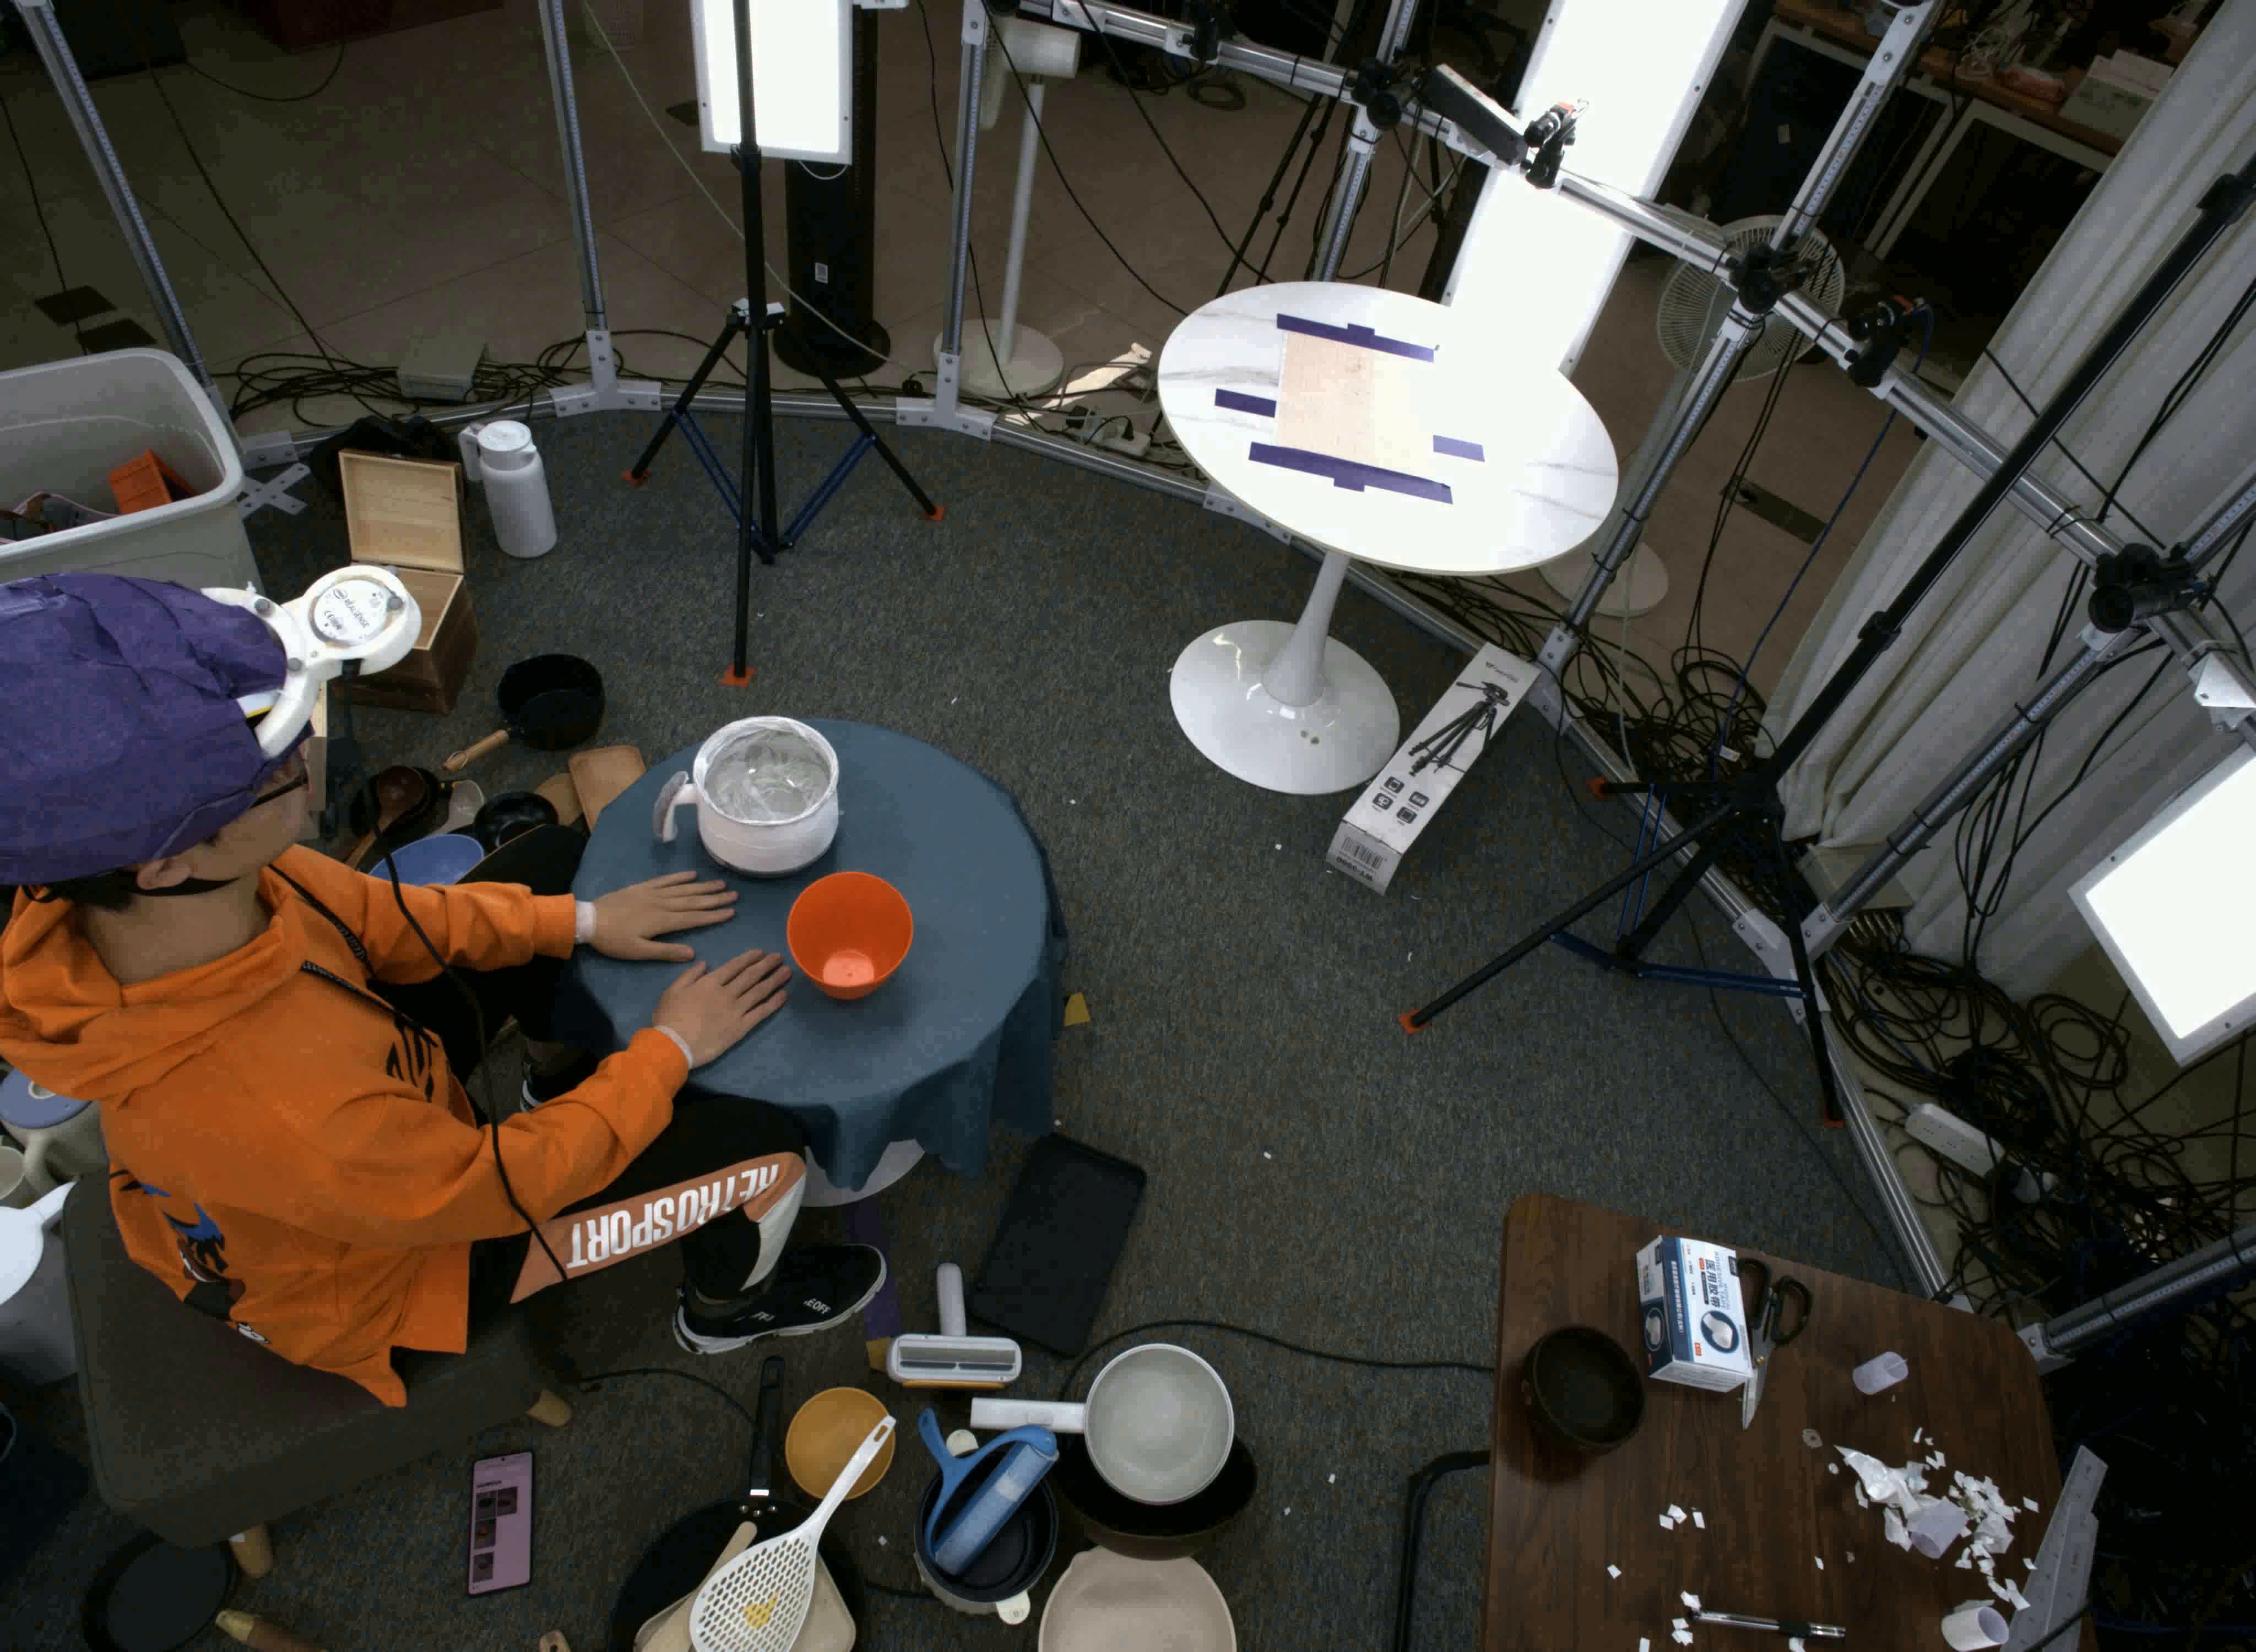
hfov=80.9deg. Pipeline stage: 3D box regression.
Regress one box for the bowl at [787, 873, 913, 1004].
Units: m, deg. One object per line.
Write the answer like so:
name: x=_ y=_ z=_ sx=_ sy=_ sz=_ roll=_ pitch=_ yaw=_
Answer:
bowl: x=-0.335 y=0.146 z=1.566 sx=0.148 sy=0.107 sz=0.145 roll=7 pitch=53 yaw=-8

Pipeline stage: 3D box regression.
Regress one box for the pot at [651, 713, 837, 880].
pot: x=-0.485 y=-0.030 z=1.631 sx=0.235 sy=0.139 sz=0.174 roll=-7 pitch=55 yaw=-20
